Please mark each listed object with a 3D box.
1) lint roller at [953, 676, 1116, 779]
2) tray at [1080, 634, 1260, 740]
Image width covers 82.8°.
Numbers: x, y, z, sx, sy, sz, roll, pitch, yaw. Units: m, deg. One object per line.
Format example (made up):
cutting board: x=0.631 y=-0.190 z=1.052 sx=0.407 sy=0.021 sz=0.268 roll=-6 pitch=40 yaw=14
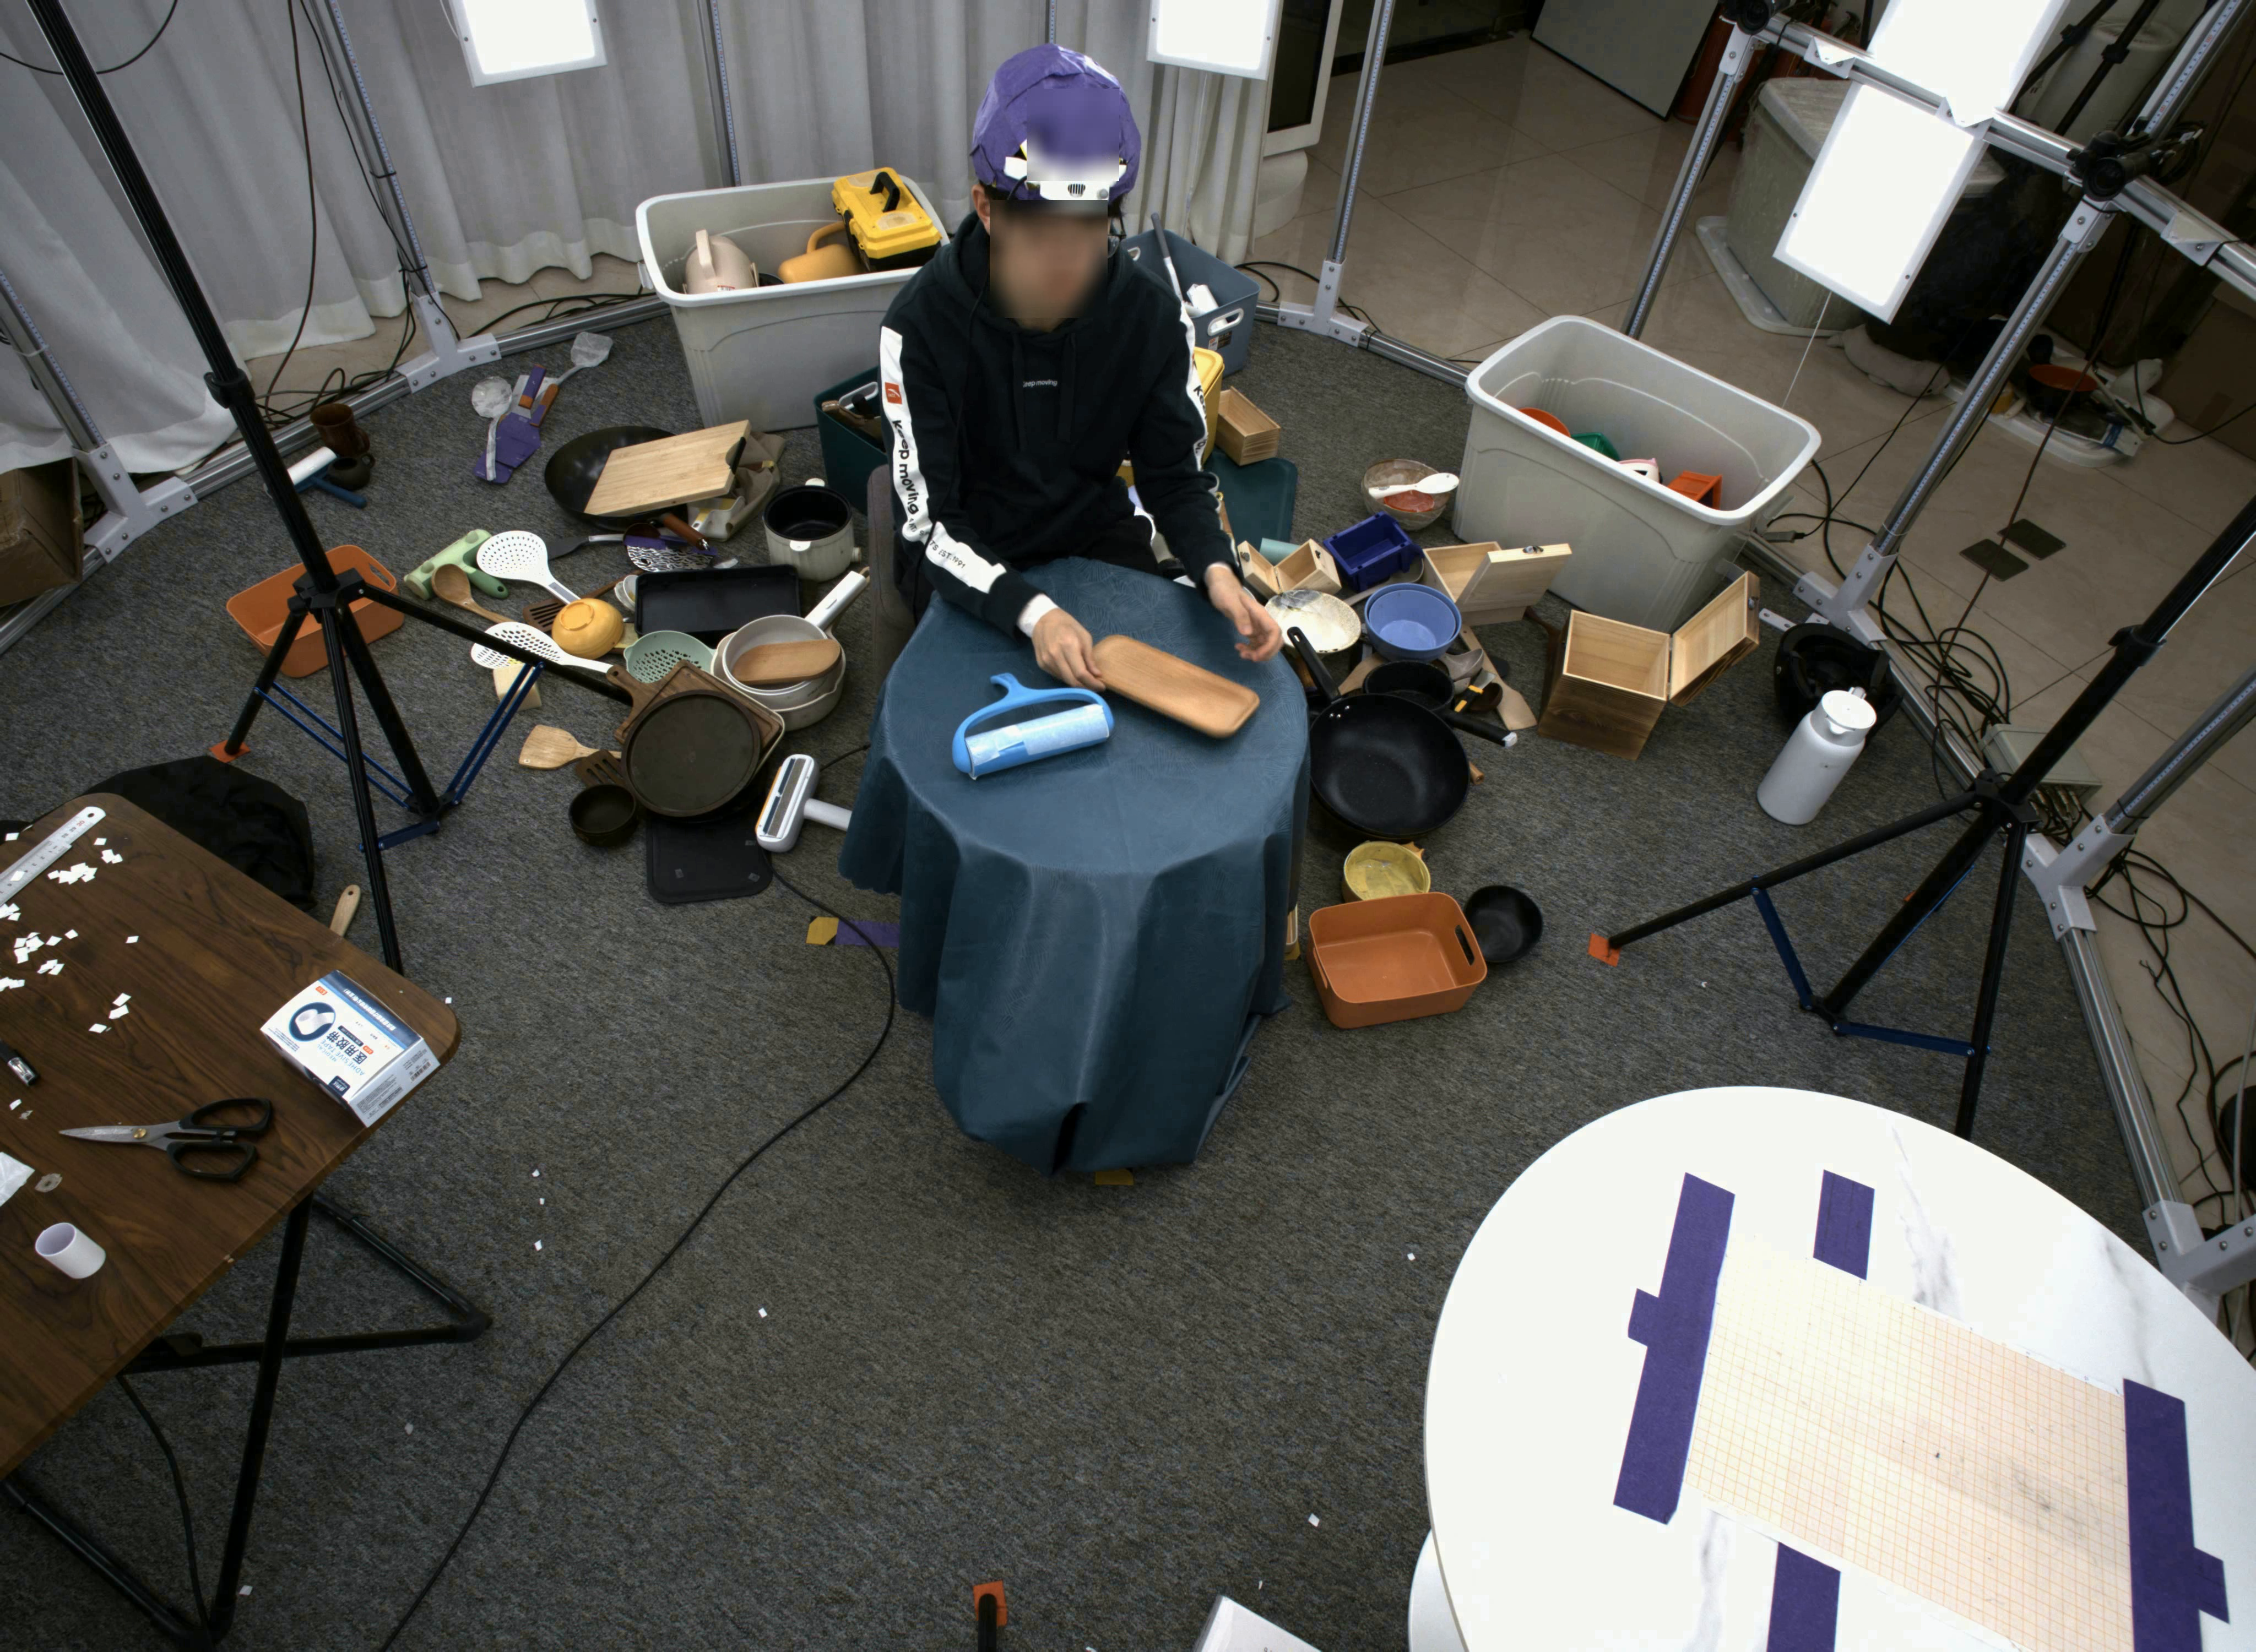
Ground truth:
lint roller: x=-0.149 y=-0.158 z=1.759 sx=0.229 sy=0.066 sz=0.184 roll=-19 pitch=54 yaw=-18
tray: x=0.059 y=-0.199 z=1.820 sx=0.253 sy=0.022 sz=0.132 roll=27 pitch=40 yaw=20
